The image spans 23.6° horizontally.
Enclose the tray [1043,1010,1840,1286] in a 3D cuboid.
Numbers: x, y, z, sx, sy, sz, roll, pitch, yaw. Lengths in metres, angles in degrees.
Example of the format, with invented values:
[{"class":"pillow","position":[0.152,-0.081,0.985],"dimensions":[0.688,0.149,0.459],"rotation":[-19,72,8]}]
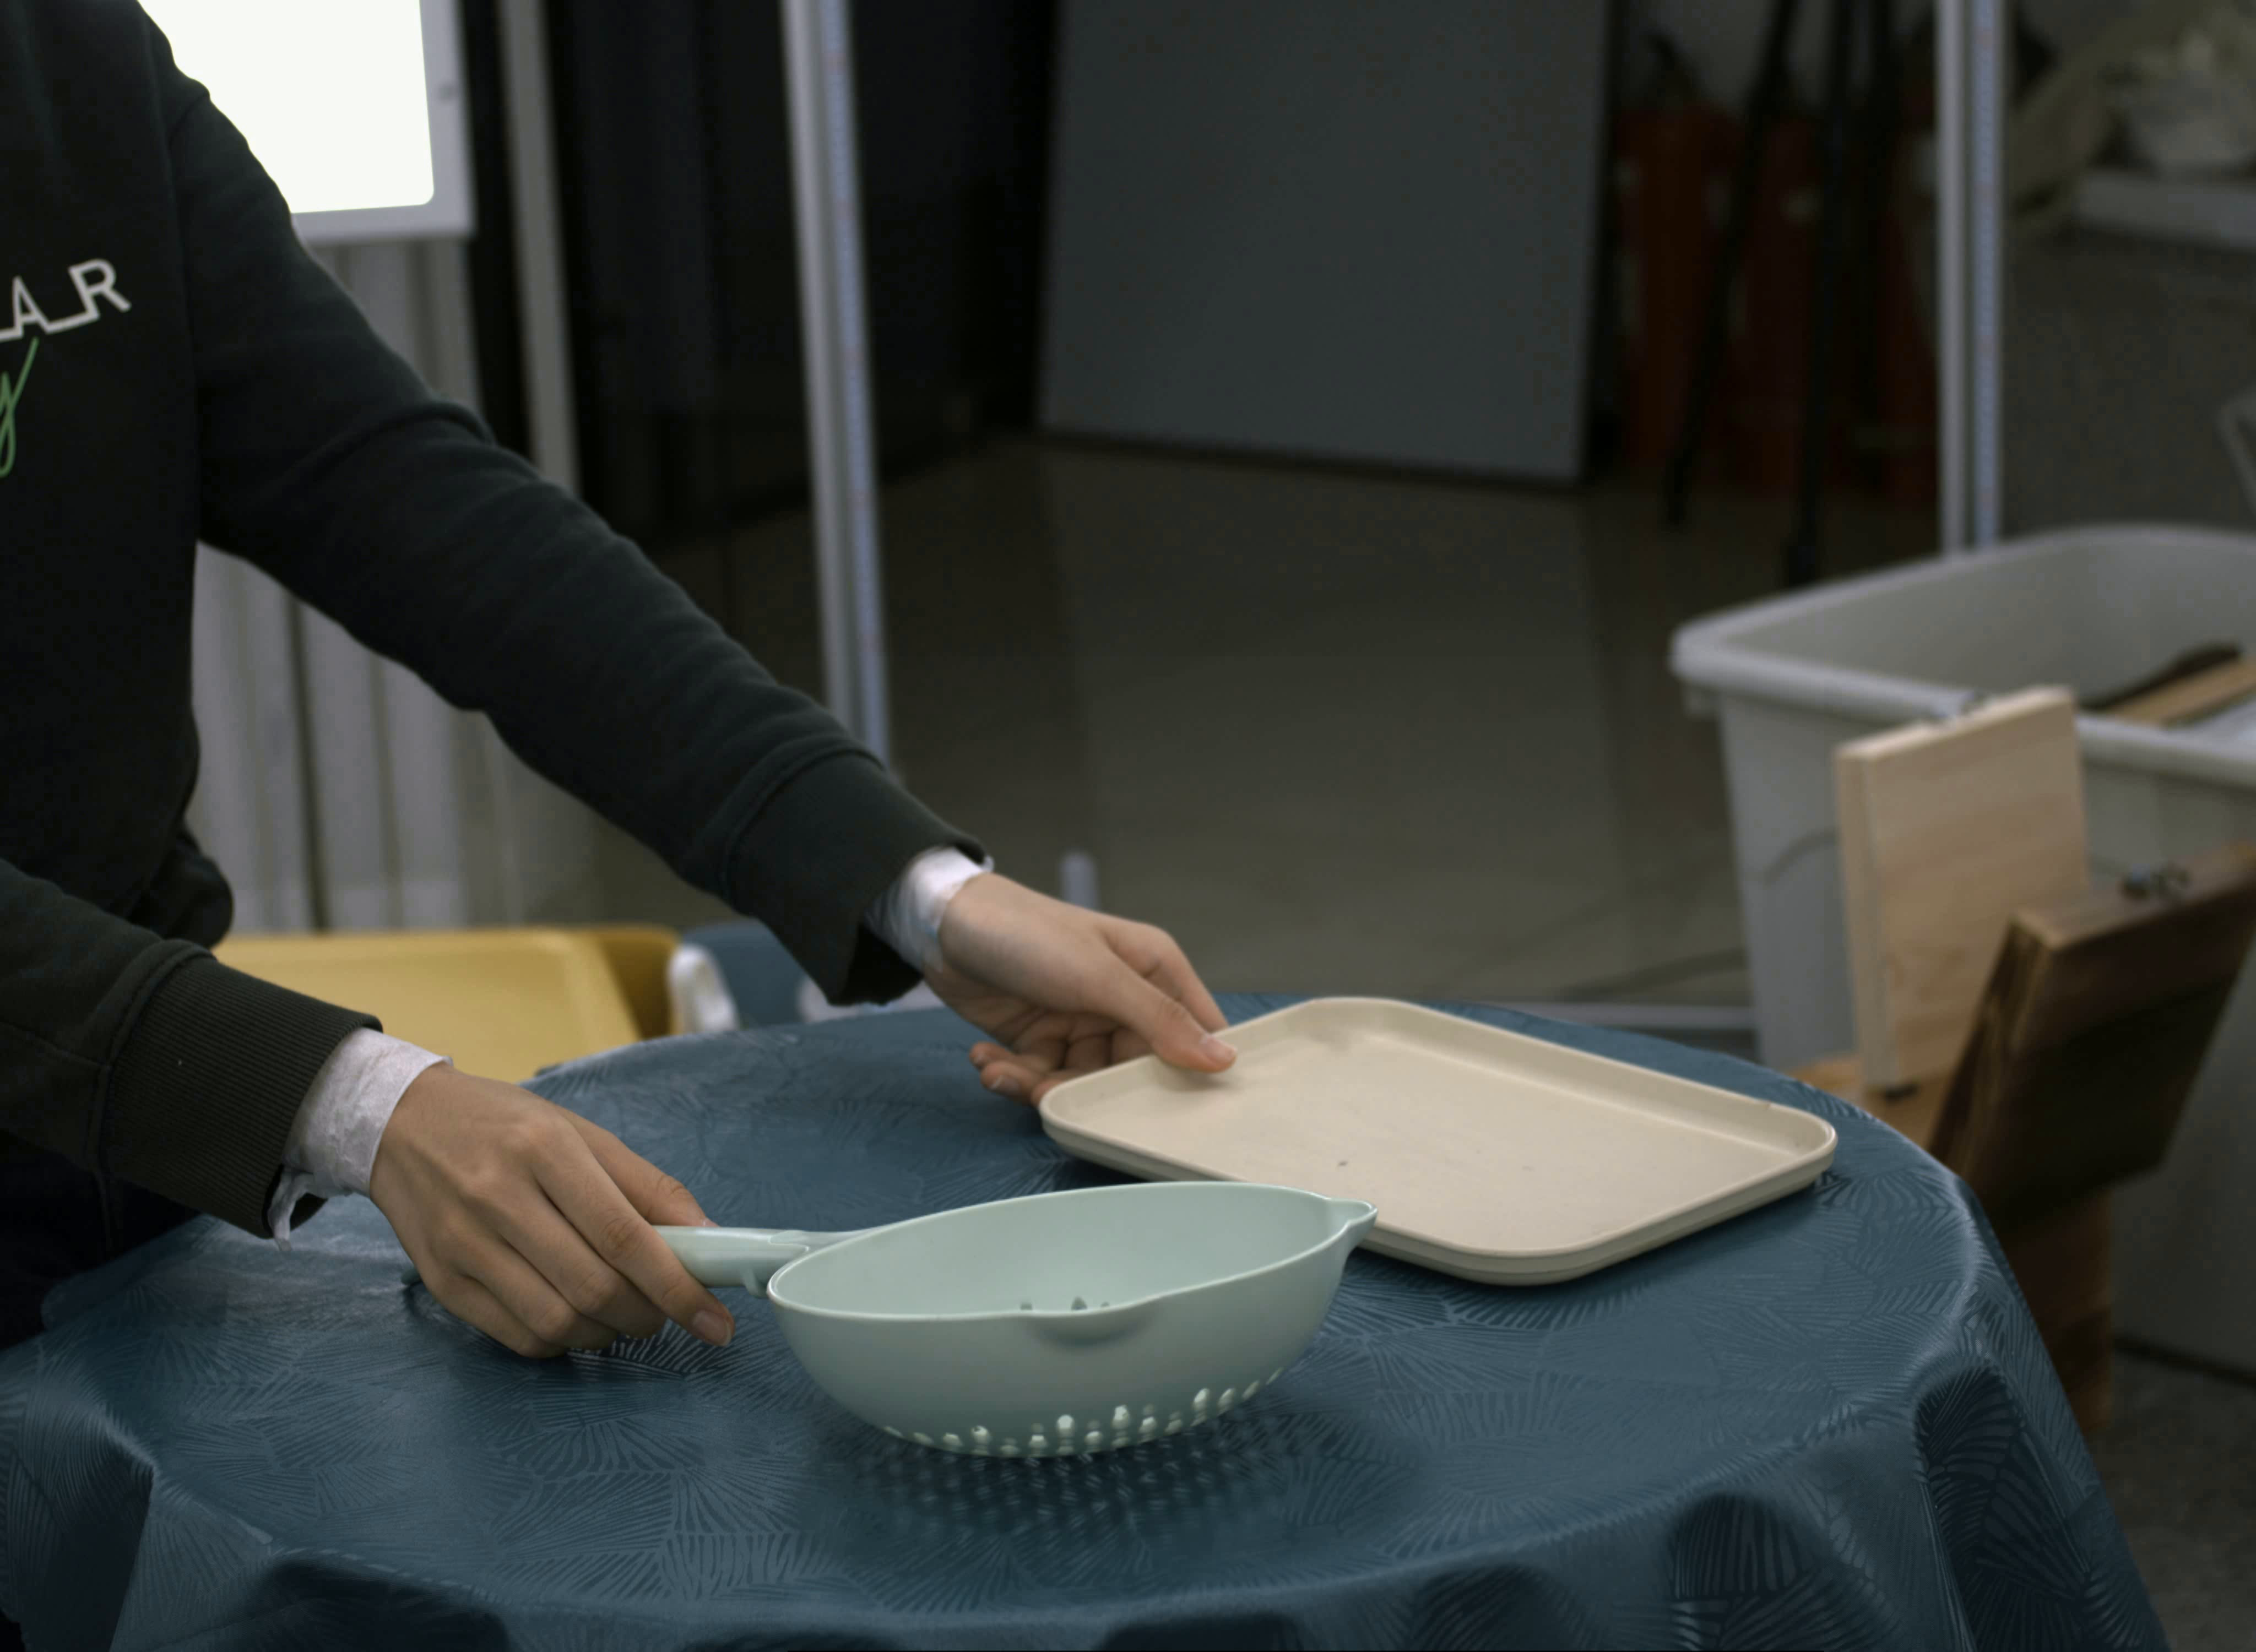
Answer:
[{"class":"tray","position":[0.101,0.104,1.762],"dimensions":[0.168,0.017,0.242],"rotation":[-16,19,-41]}]

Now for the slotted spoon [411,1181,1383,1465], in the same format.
[{"class":"slotted spoon","position":[-0.090,0.135,1.604],"dimensions":[0.362,0.076,0.166],"rotation":[8,14,40]}]
